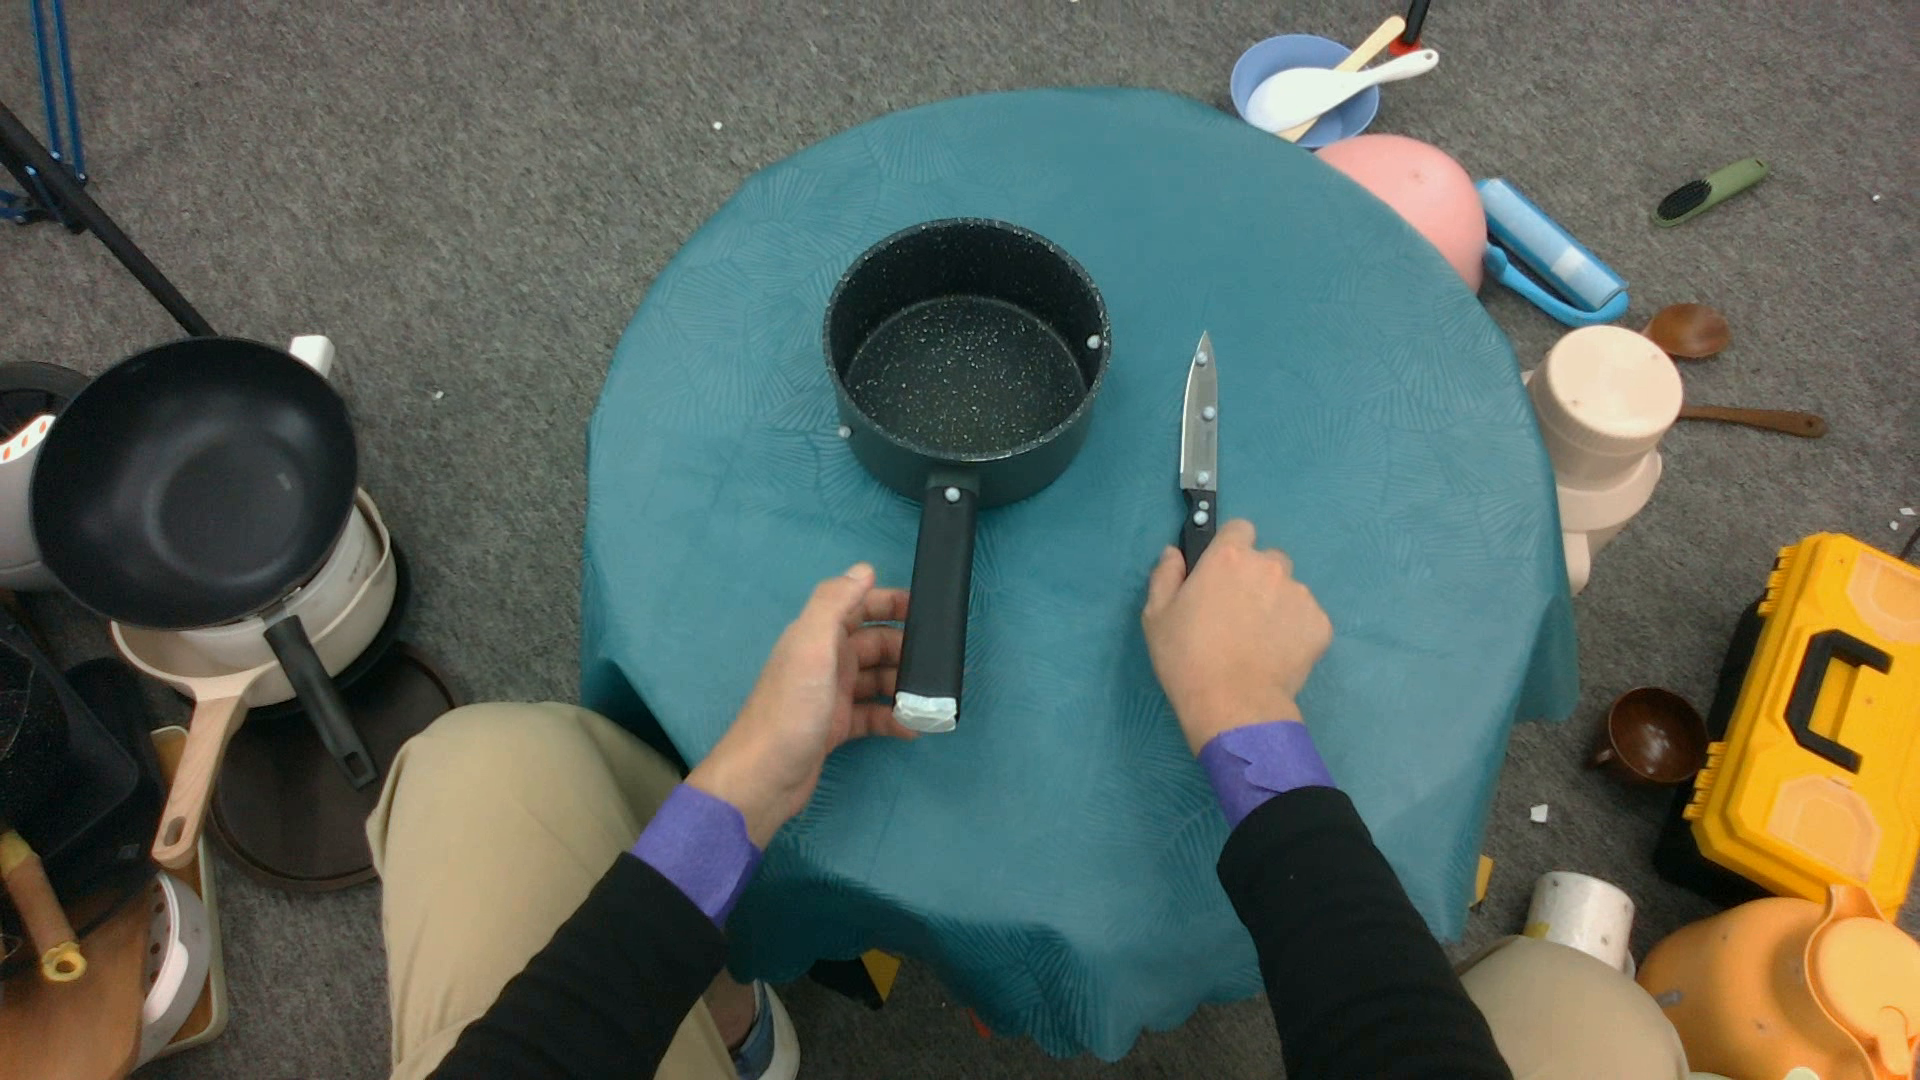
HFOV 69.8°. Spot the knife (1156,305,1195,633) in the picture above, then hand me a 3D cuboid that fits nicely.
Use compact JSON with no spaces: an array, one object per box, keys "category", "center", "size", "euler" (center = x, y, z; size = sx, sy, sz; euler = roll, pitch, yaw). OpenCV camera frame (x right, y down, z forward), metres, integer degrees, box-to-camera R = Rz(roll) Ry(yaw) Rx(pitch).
[{"category":"knife","center":[0.132,-0.051,0.845],"size":[0.024,0.016,0.239],"euler":[3,60,4]}]

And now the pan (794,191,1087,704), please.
[{"category":"pan","center":[-0.022,-0.051,0.802],"size":[0.172,0.086,0.330],"euler":[7,63,2]}]
